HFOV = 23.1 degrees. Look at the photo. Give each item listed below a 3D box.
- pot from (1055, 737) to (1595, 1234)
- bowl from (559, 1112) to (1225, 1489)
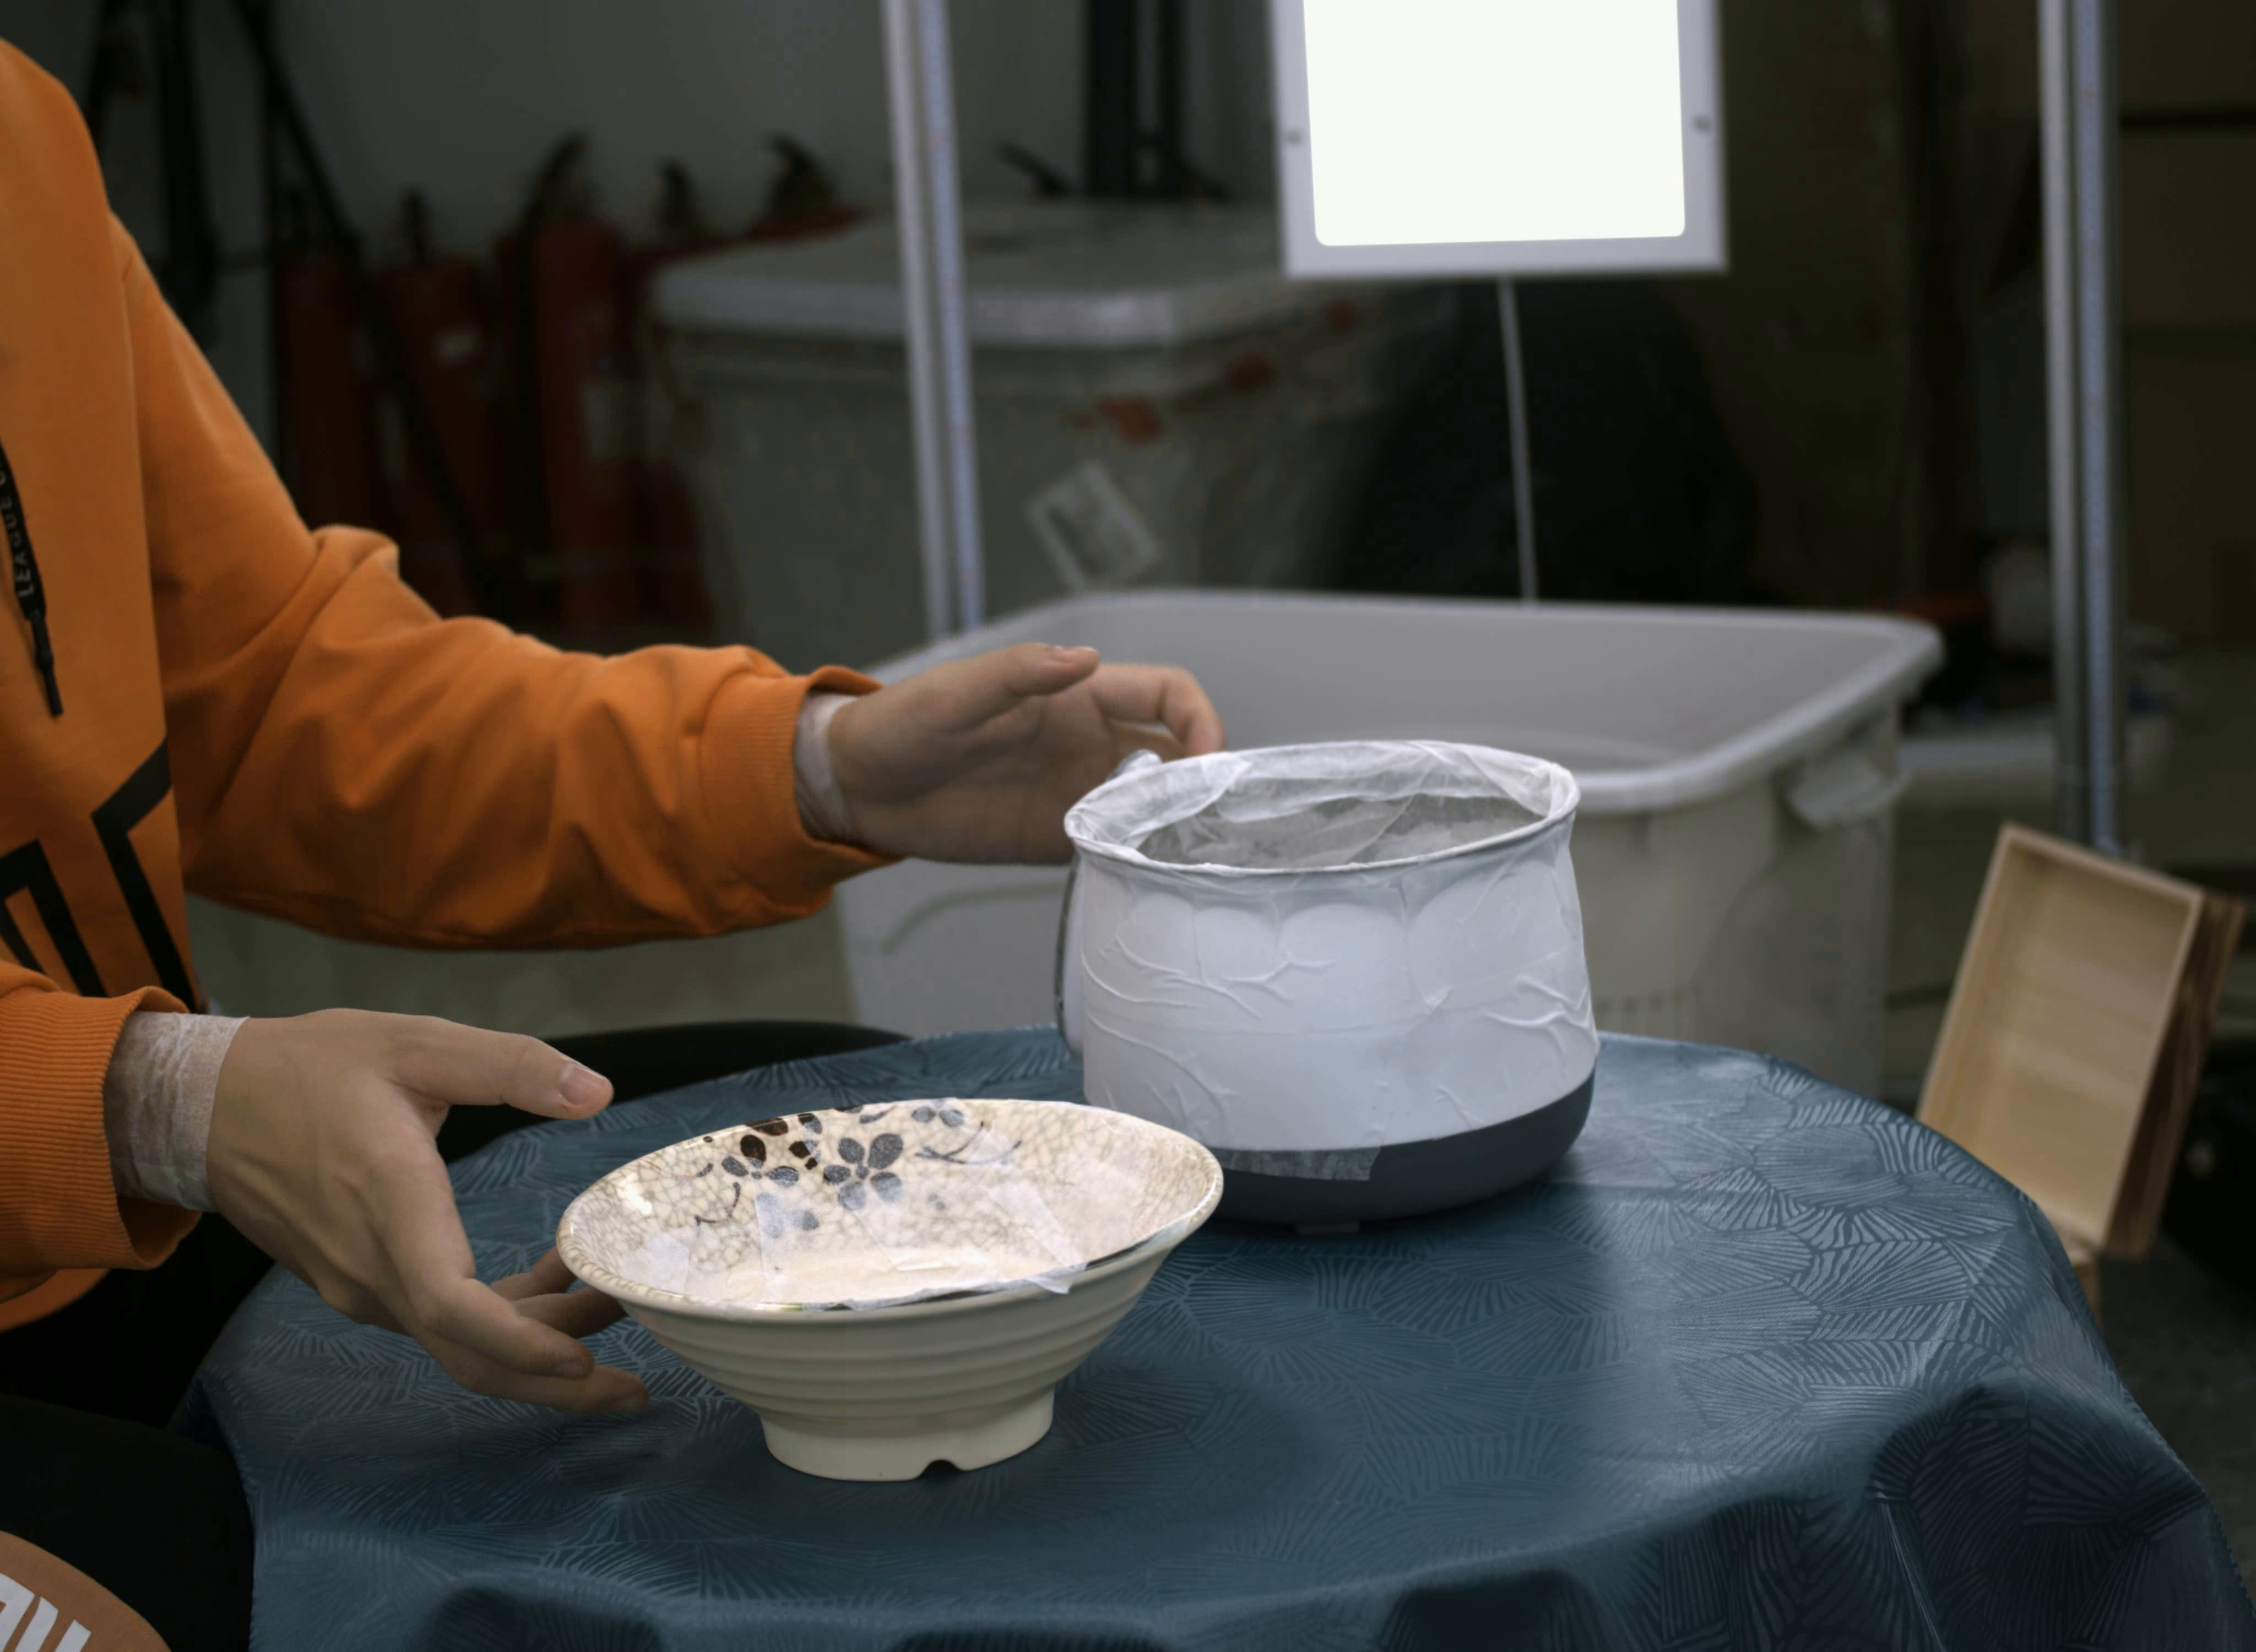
[{"bbox_3d":[0.053,0.049,1.904,0.174,0.137,0.238,-14,17,-36],"label":"pot"},{"bbox_3d":[-0.067,0.150,1.671,0.203,0.078,0.204,-8,12,0],"label":"bowl"}]
